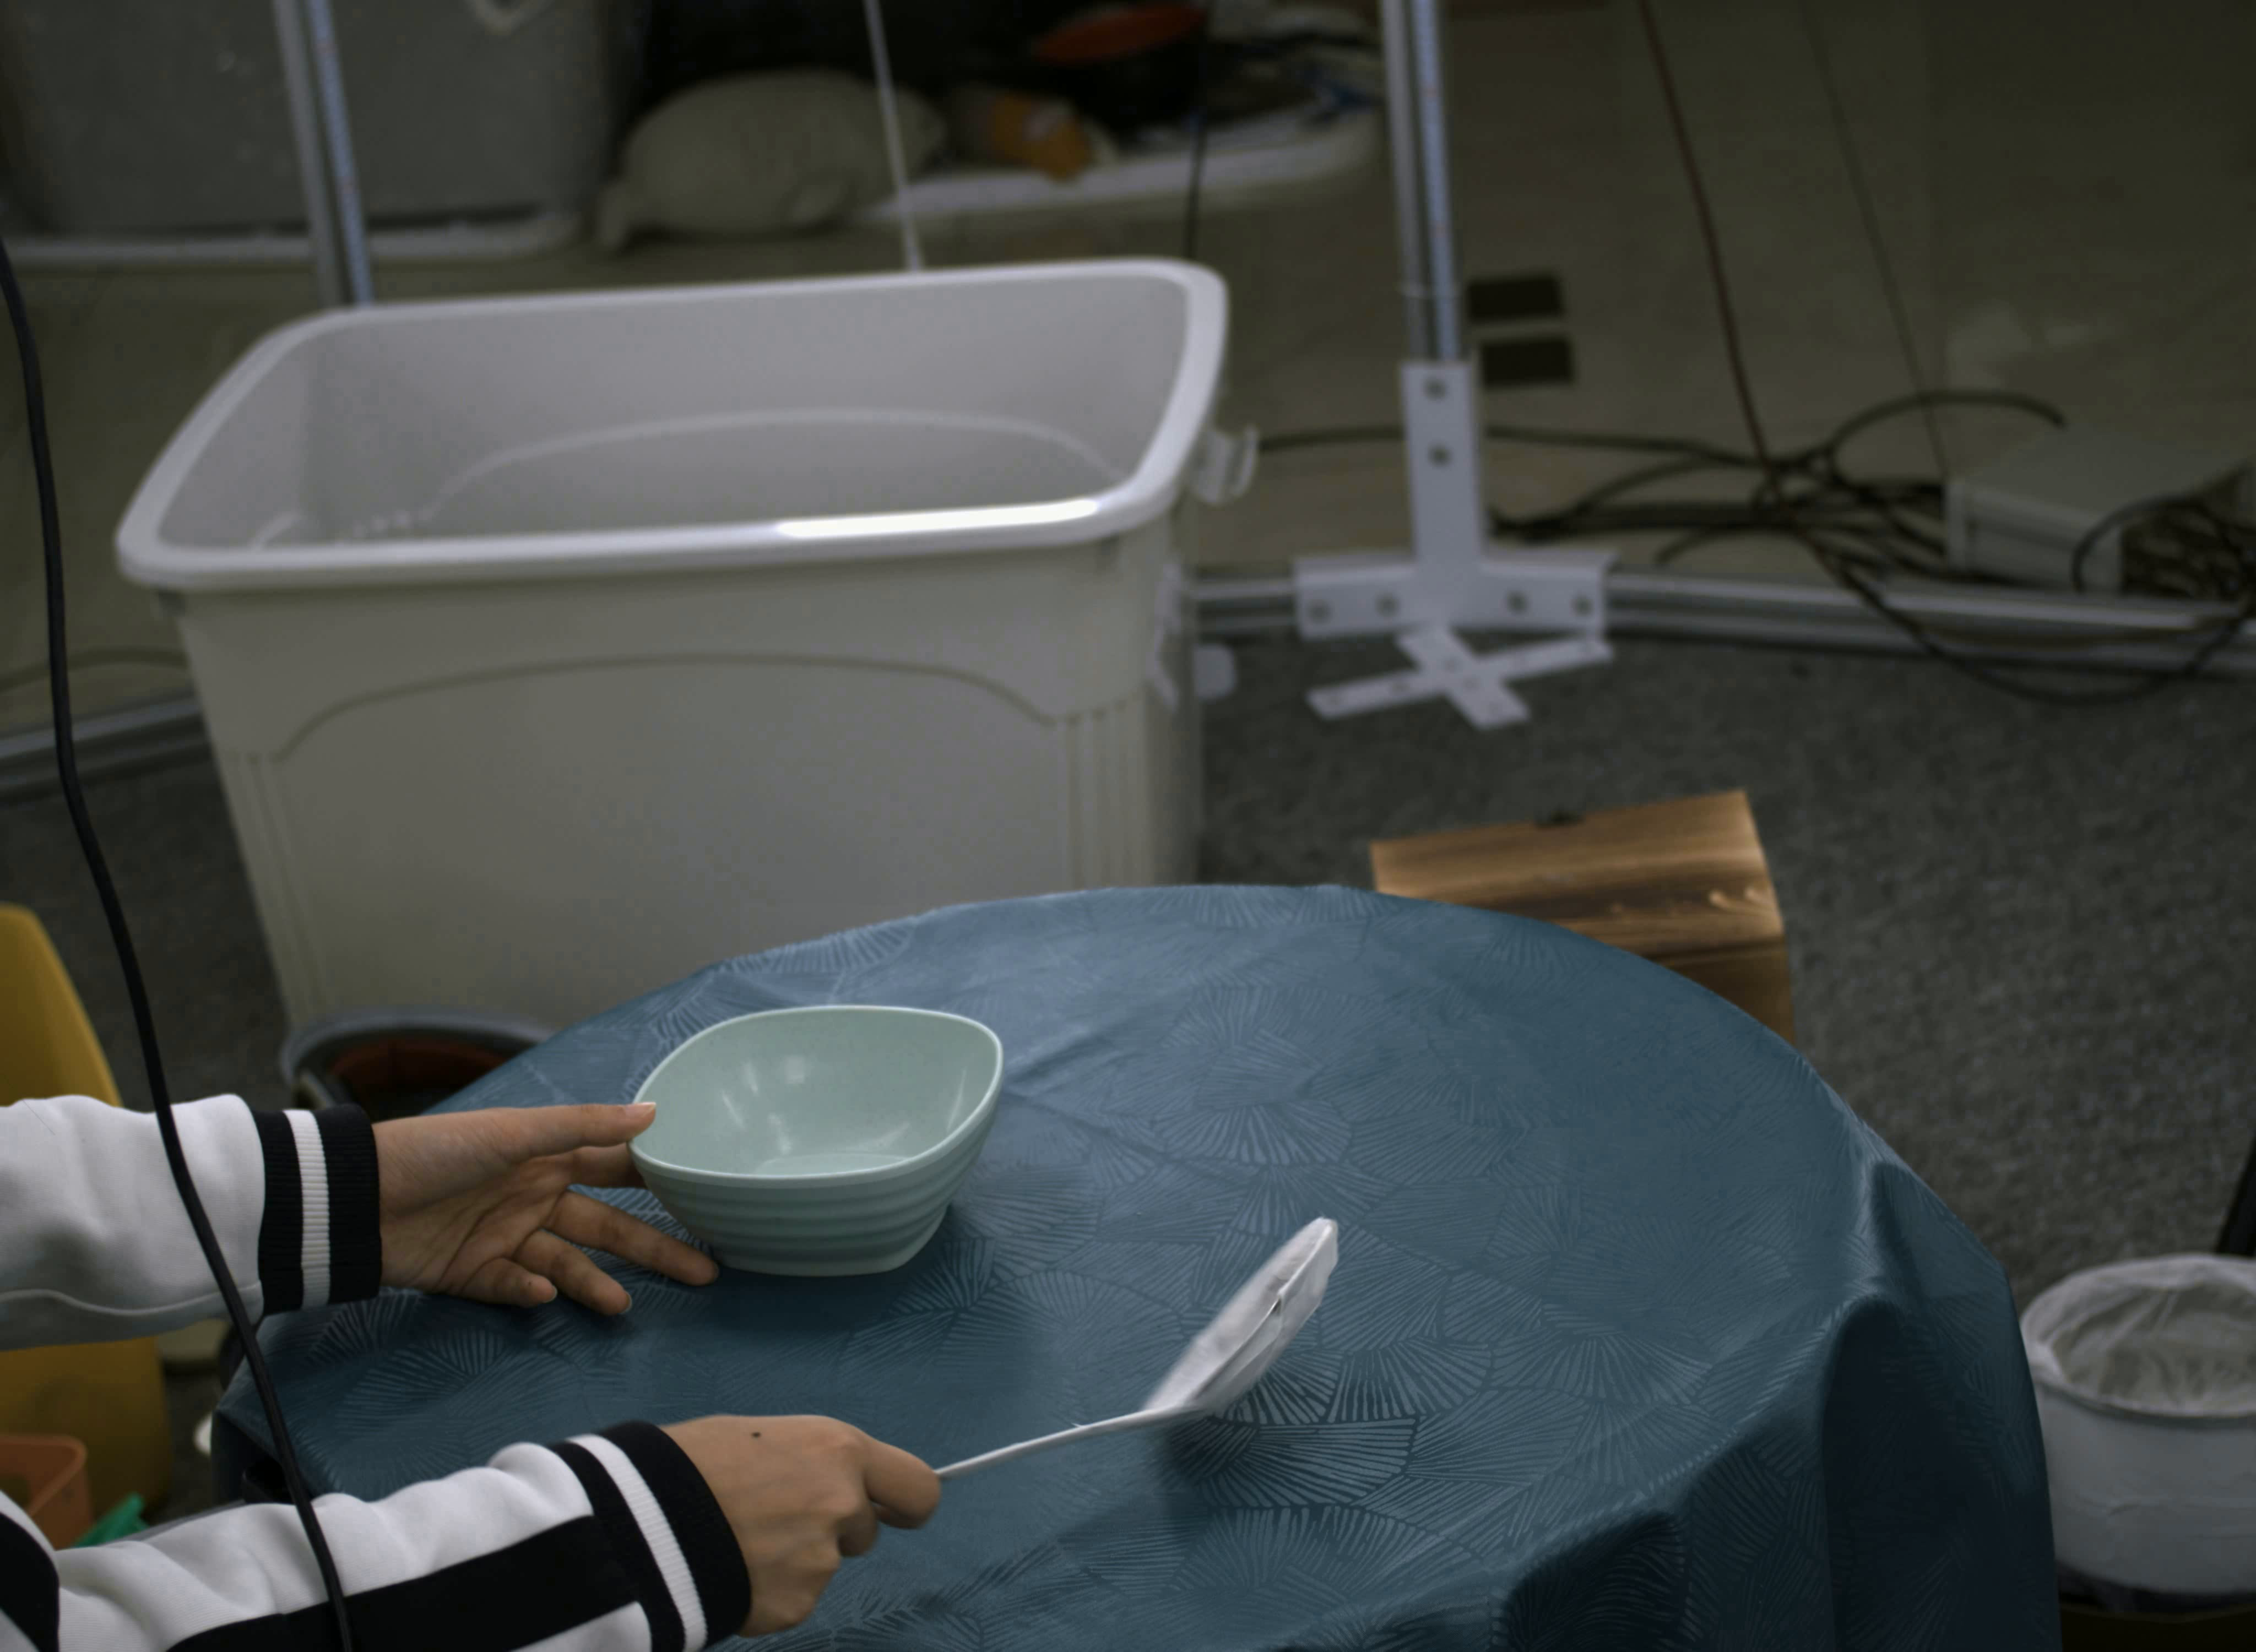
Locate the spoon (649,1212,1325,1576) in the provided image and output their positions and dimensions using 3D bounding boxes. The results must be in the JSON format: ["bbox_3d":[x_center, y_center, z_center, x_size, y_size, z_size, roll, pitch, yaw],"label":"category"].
[{"bbox_3d":[-0.047,0.194,1.925,0.276,0.102,0.059,-13,65,-27],"label":"spoon"}]

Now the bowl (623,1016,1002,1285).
[{"bbox_3d":[-0.115,0.128,2.139,0.151,0.059,0.149,-5,25,3],"label":"bowl"}]
